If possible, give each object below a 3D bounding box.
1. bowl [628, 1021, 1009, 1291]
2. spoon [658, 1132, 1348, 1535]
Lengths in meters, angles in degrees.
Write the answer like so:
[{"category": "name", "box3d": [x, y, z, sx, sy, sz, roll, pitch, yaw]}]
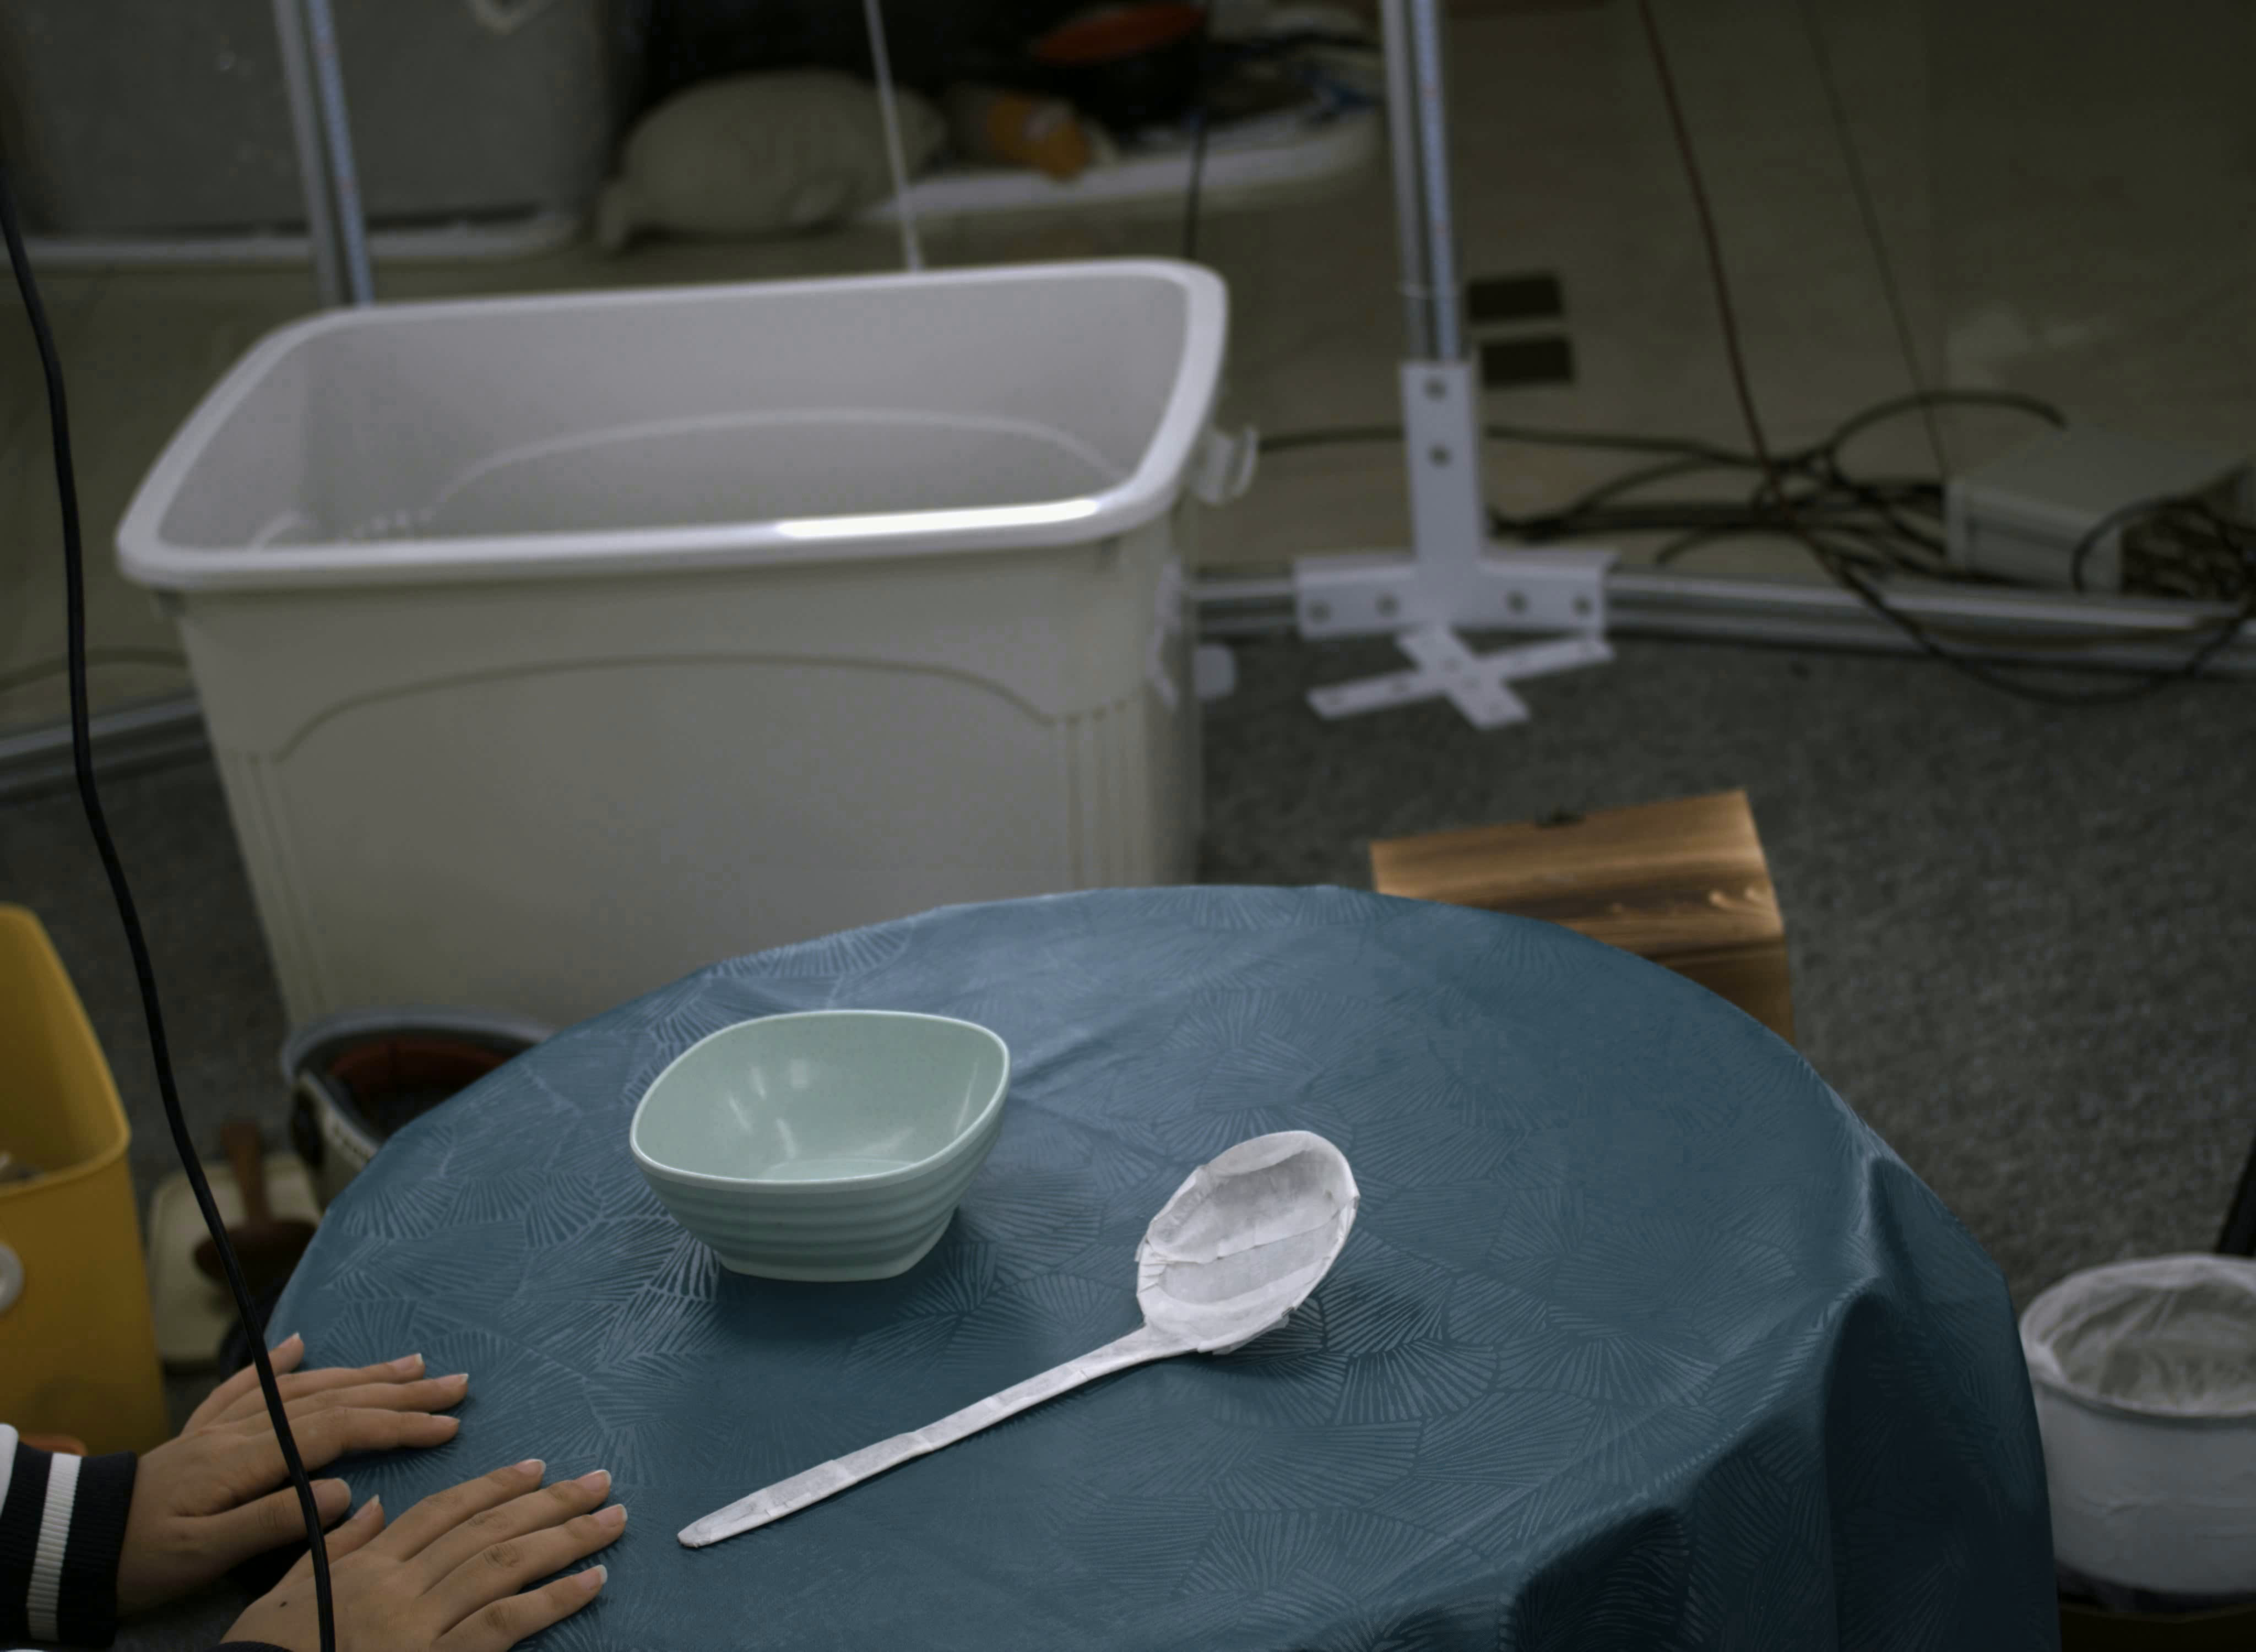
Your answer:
[{"category": "bowl", "box3d": [-0.113, 0.129, 2.135, 0.151, 0.059, 0.149, -6, 25, 3]}, {"category": "spoon", "box3d": [-0.047, 0.177, 2.009, 0.276, 0.060, 0.100, -18, 23, -24]}]
